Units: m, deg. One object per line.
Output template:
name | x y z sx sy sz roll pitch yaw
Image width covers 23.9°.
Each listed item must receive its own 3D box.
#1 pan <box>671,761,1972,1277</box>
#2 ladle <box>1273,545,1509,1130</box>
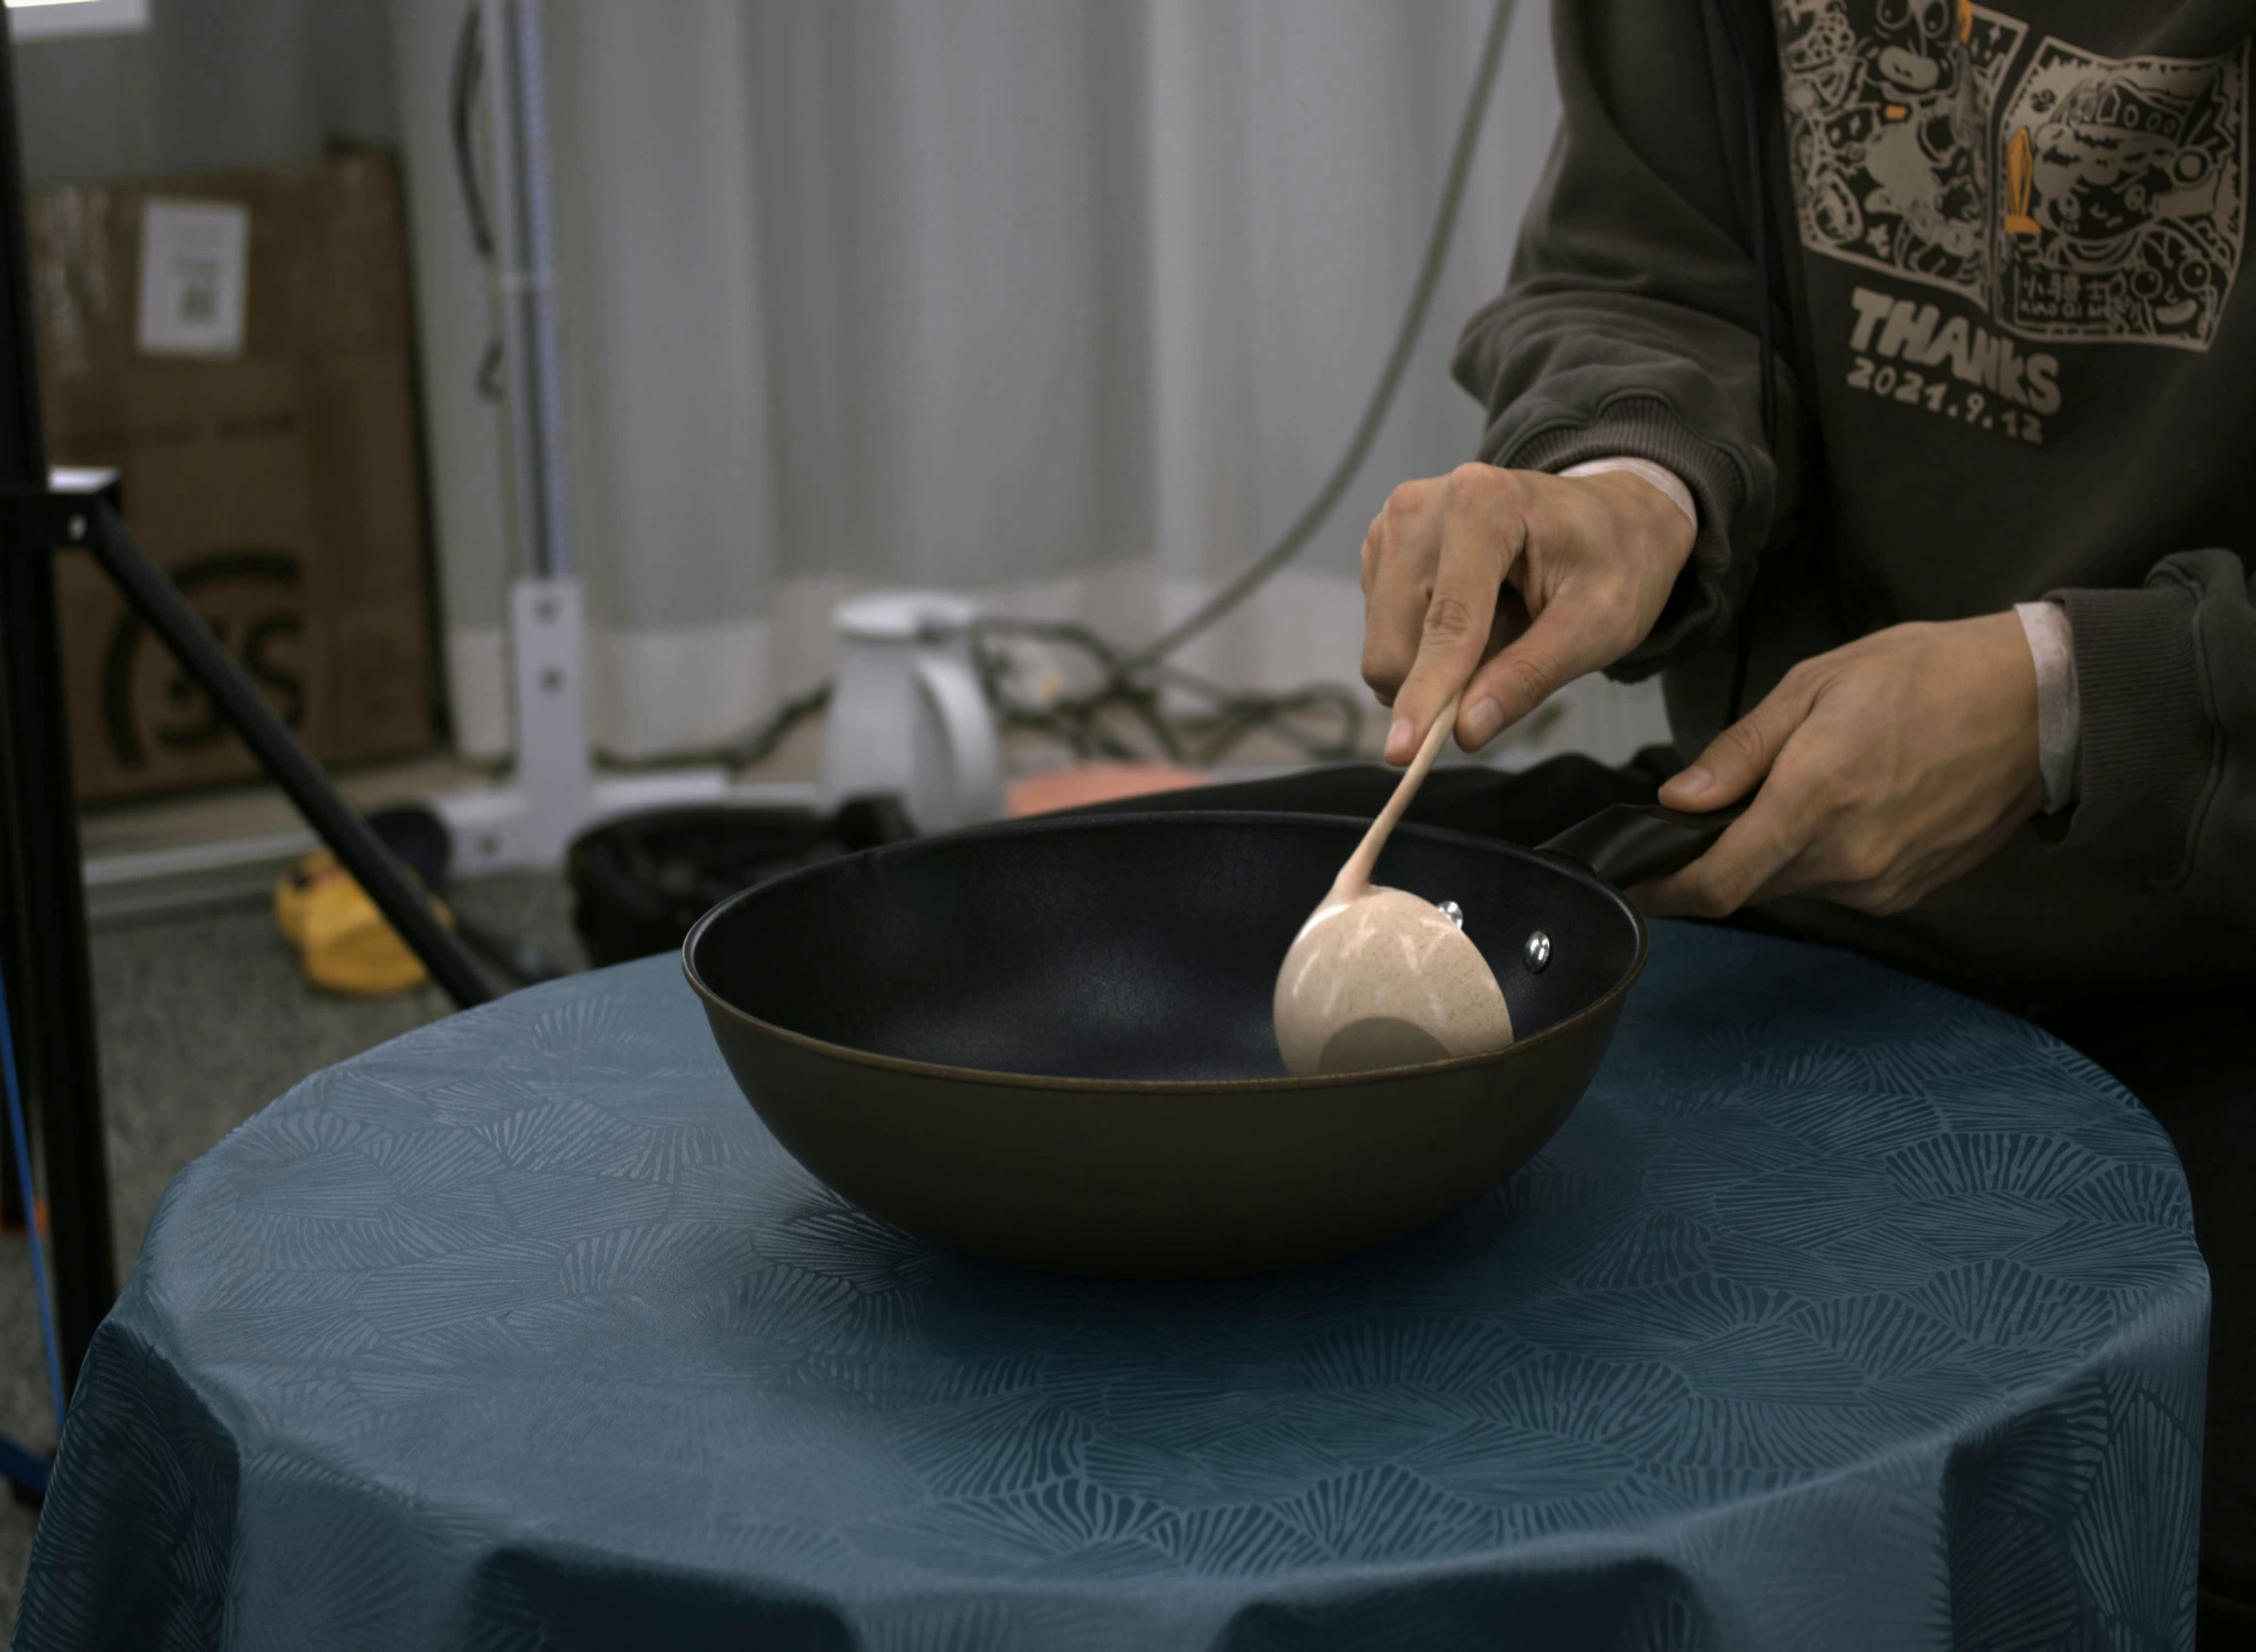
pan | 0.080 0.052 1.596 0.452 0.087 0.295 -12 18 -35
ladle | 0.105 0.001 1.549 0.073 0.072 0.253 23 39 5
